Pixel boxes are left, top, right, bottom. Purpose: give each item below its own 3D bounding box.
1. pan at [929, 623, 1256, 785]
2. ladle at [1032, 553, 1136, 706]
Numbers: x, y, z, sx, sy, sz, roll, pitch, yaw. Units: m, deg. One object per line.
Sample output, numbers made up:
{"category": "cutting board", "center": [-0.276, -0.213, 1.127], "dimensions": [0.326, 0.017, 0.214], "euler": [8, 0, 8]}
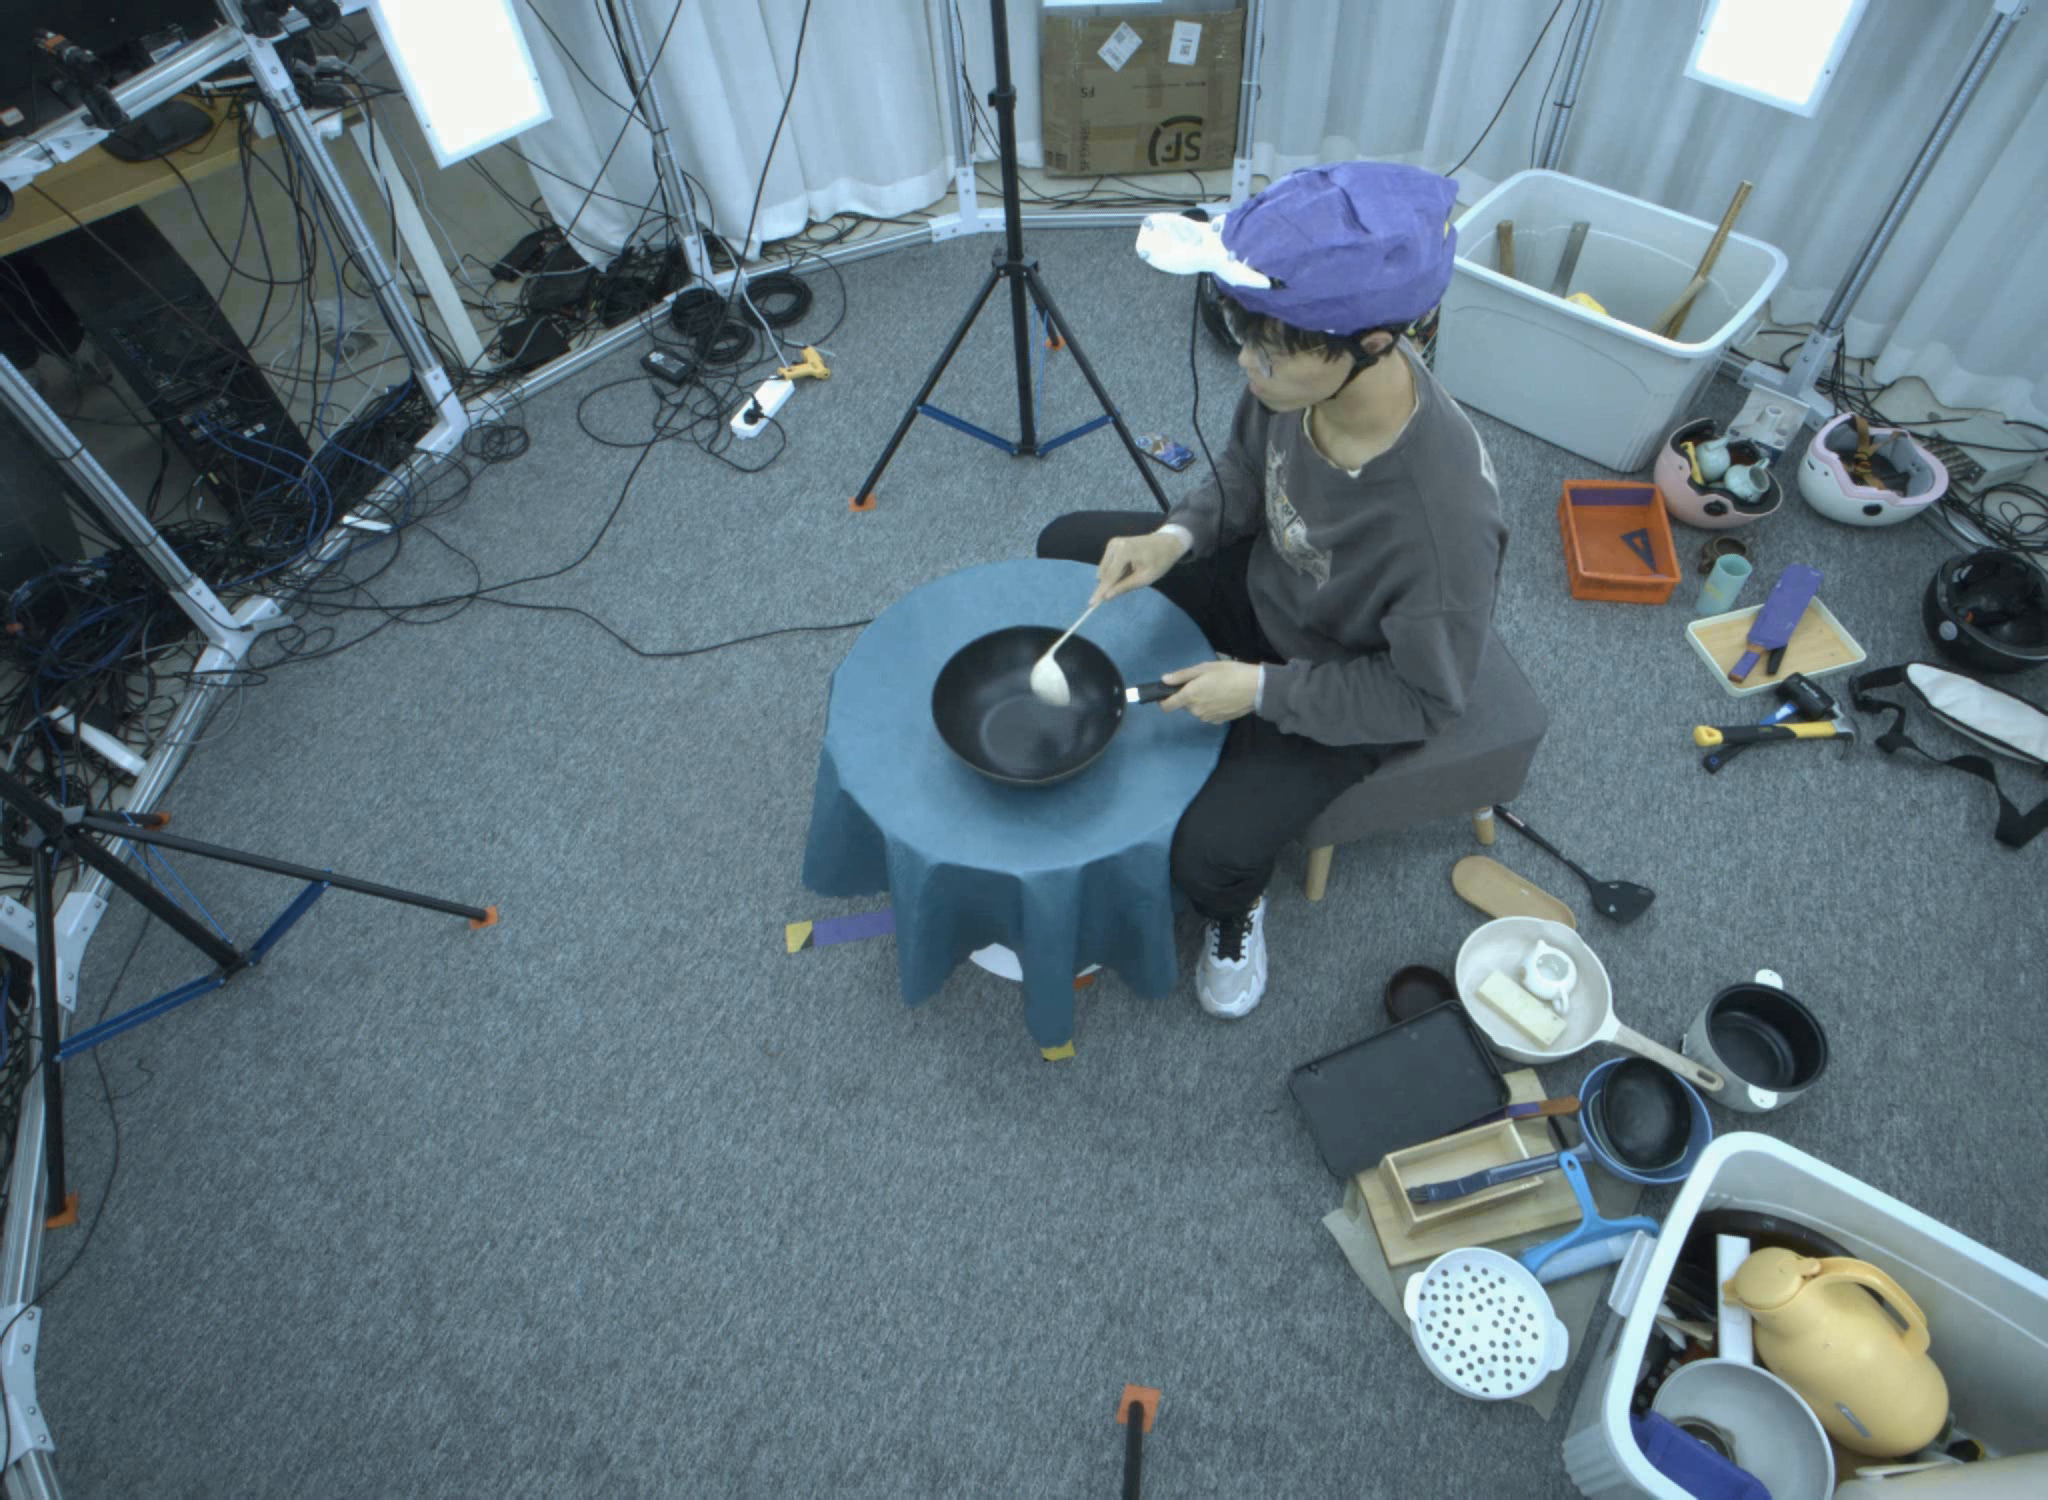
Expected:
{"category": "pan", "center": [0.098, -0.059, 1.774], "dimensions": [0.464, 0.088, 0.284], "euler": [-4, 54, -3]}
{"category": "ladle", "center": [0.107, -0.170, 1.773], "dimensions": [0.073, 0.071, 0.255], "euler": [44, 76, -13]}
